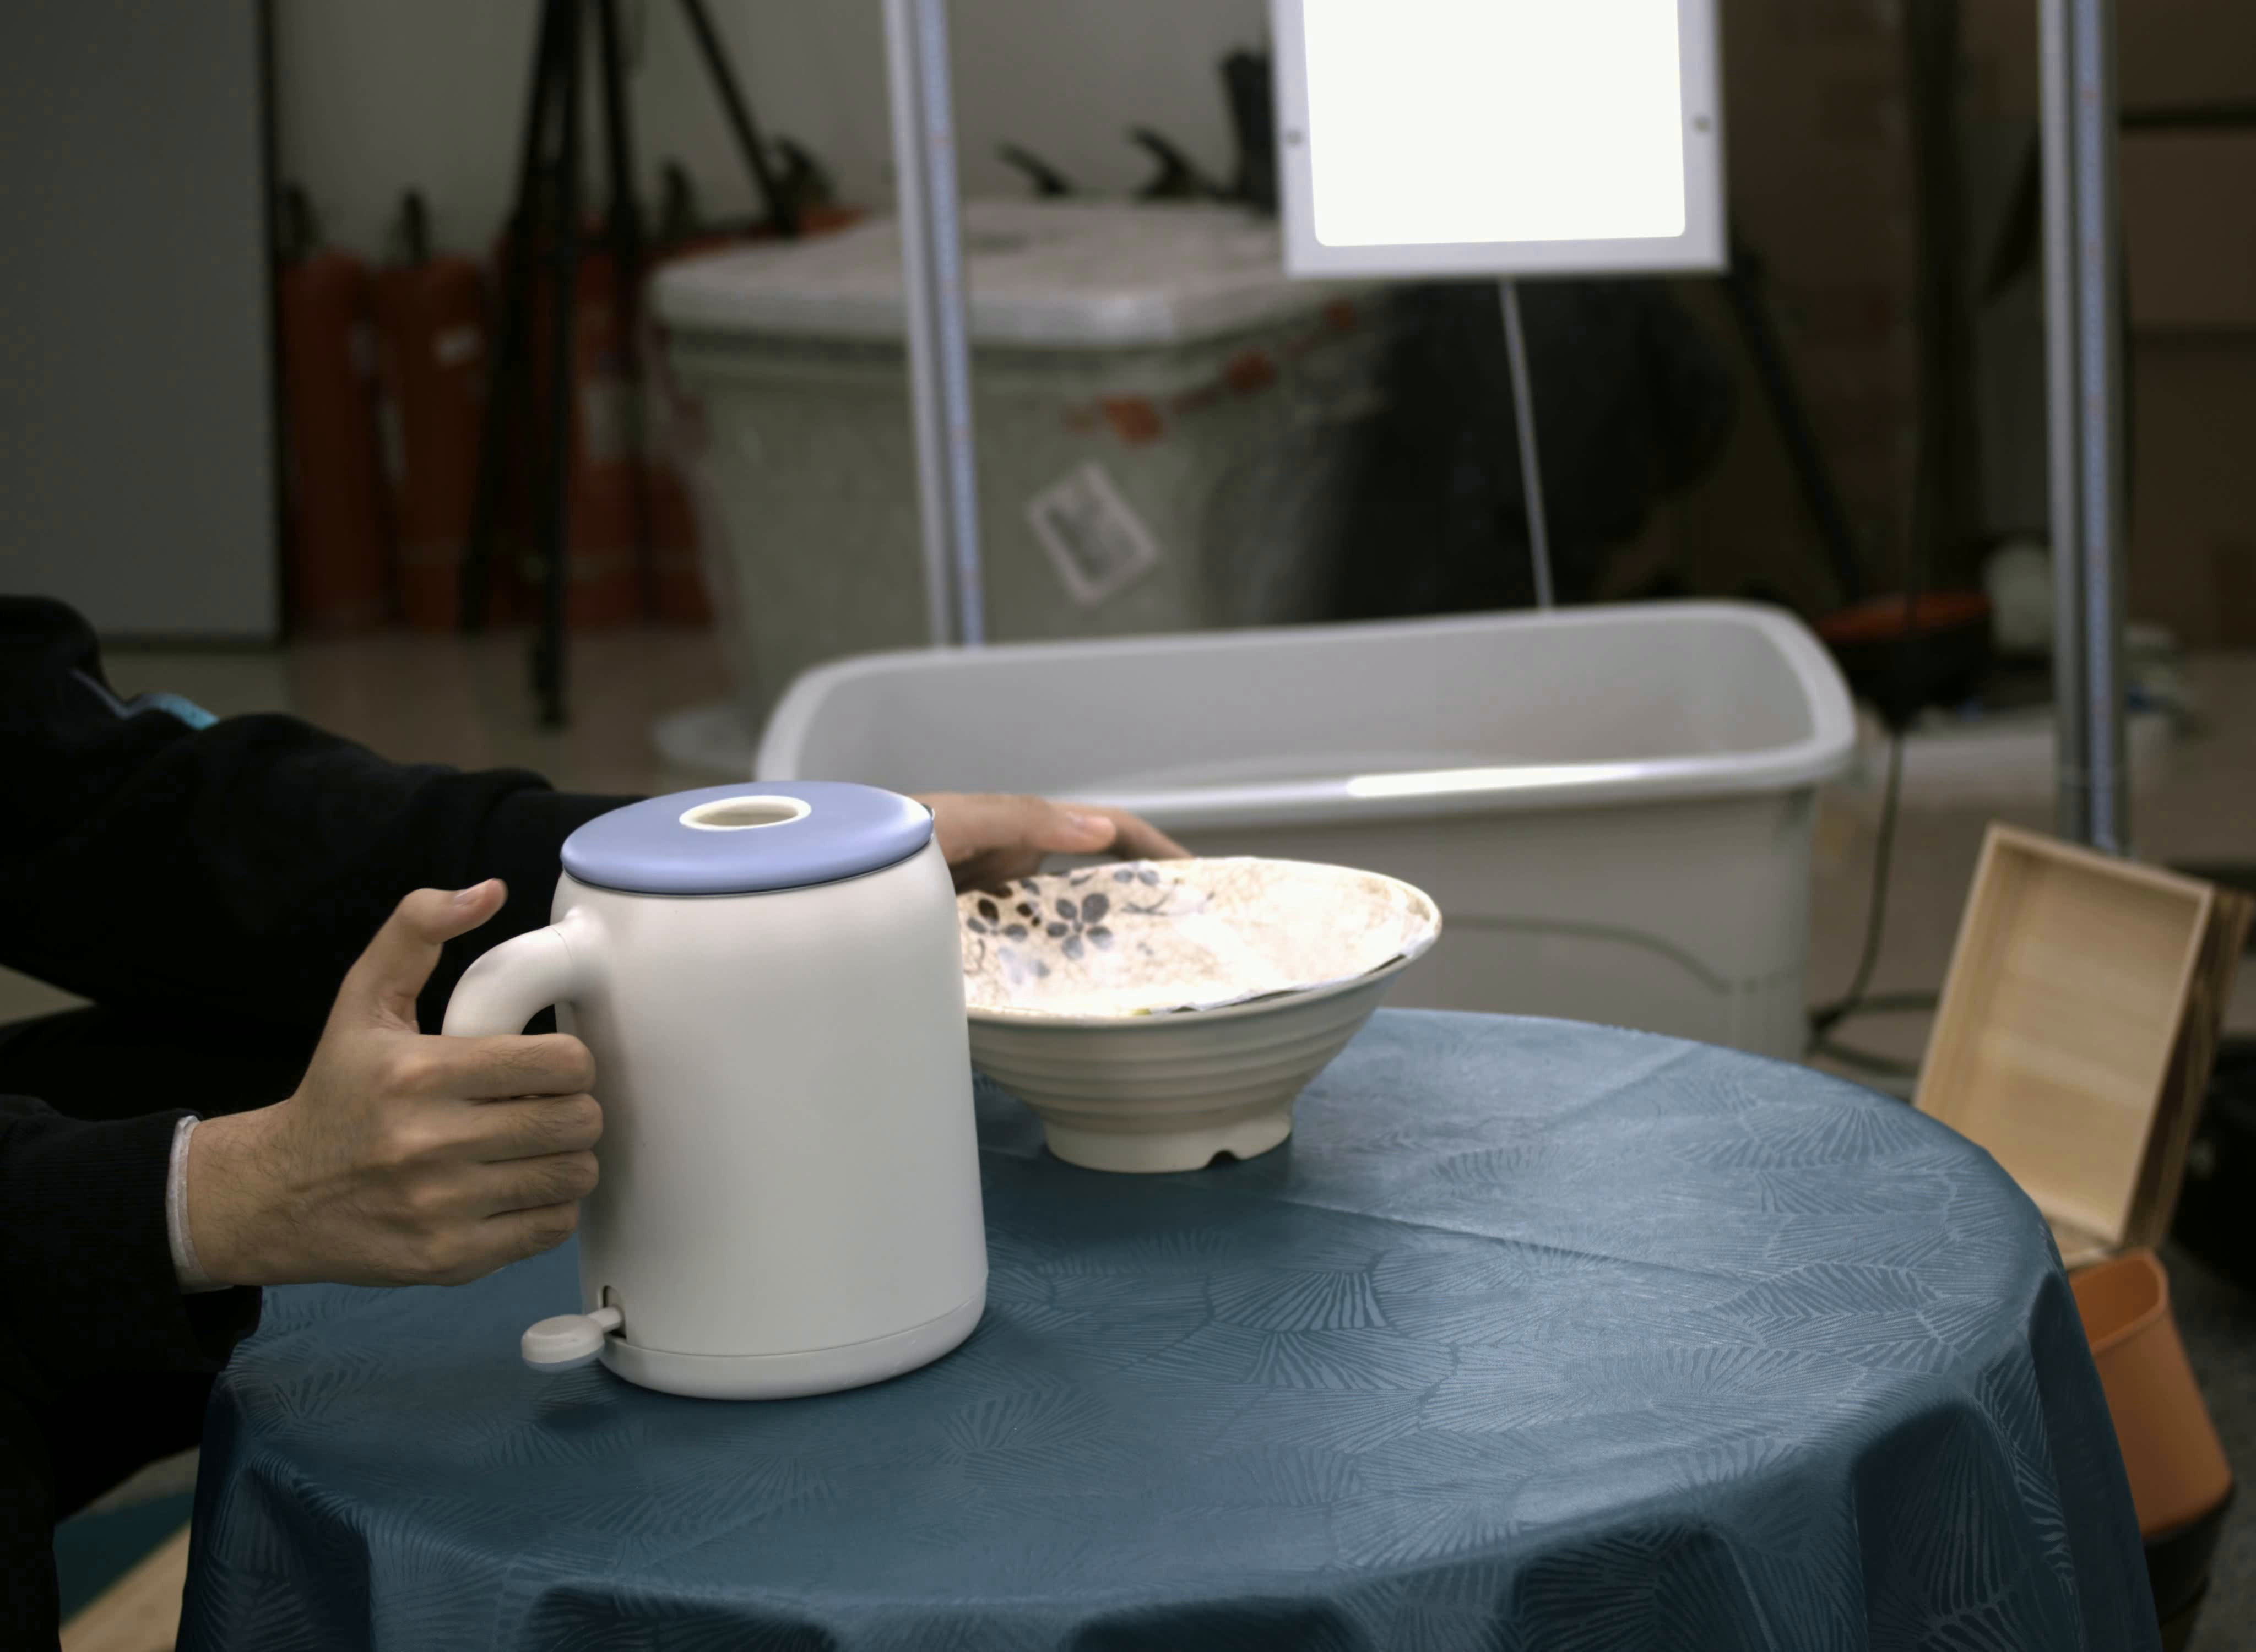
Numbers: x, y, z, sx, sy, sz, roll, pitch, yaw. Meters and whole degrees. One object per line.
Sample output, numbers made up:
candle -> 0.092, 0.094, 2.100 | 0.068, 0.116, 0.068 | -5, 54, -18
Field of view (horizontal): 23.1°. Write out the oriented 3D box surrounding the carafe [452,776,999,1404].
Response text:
carafe -> -0.132, 0.089, 1.742 | 0.186, 0.183, 0.135 | -18, 17, -34

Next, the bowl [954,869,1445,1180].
bowl -> 0.015, 0.075, 1.941 | 0.203, 0.078, 0.204 | -7, 12, 0
